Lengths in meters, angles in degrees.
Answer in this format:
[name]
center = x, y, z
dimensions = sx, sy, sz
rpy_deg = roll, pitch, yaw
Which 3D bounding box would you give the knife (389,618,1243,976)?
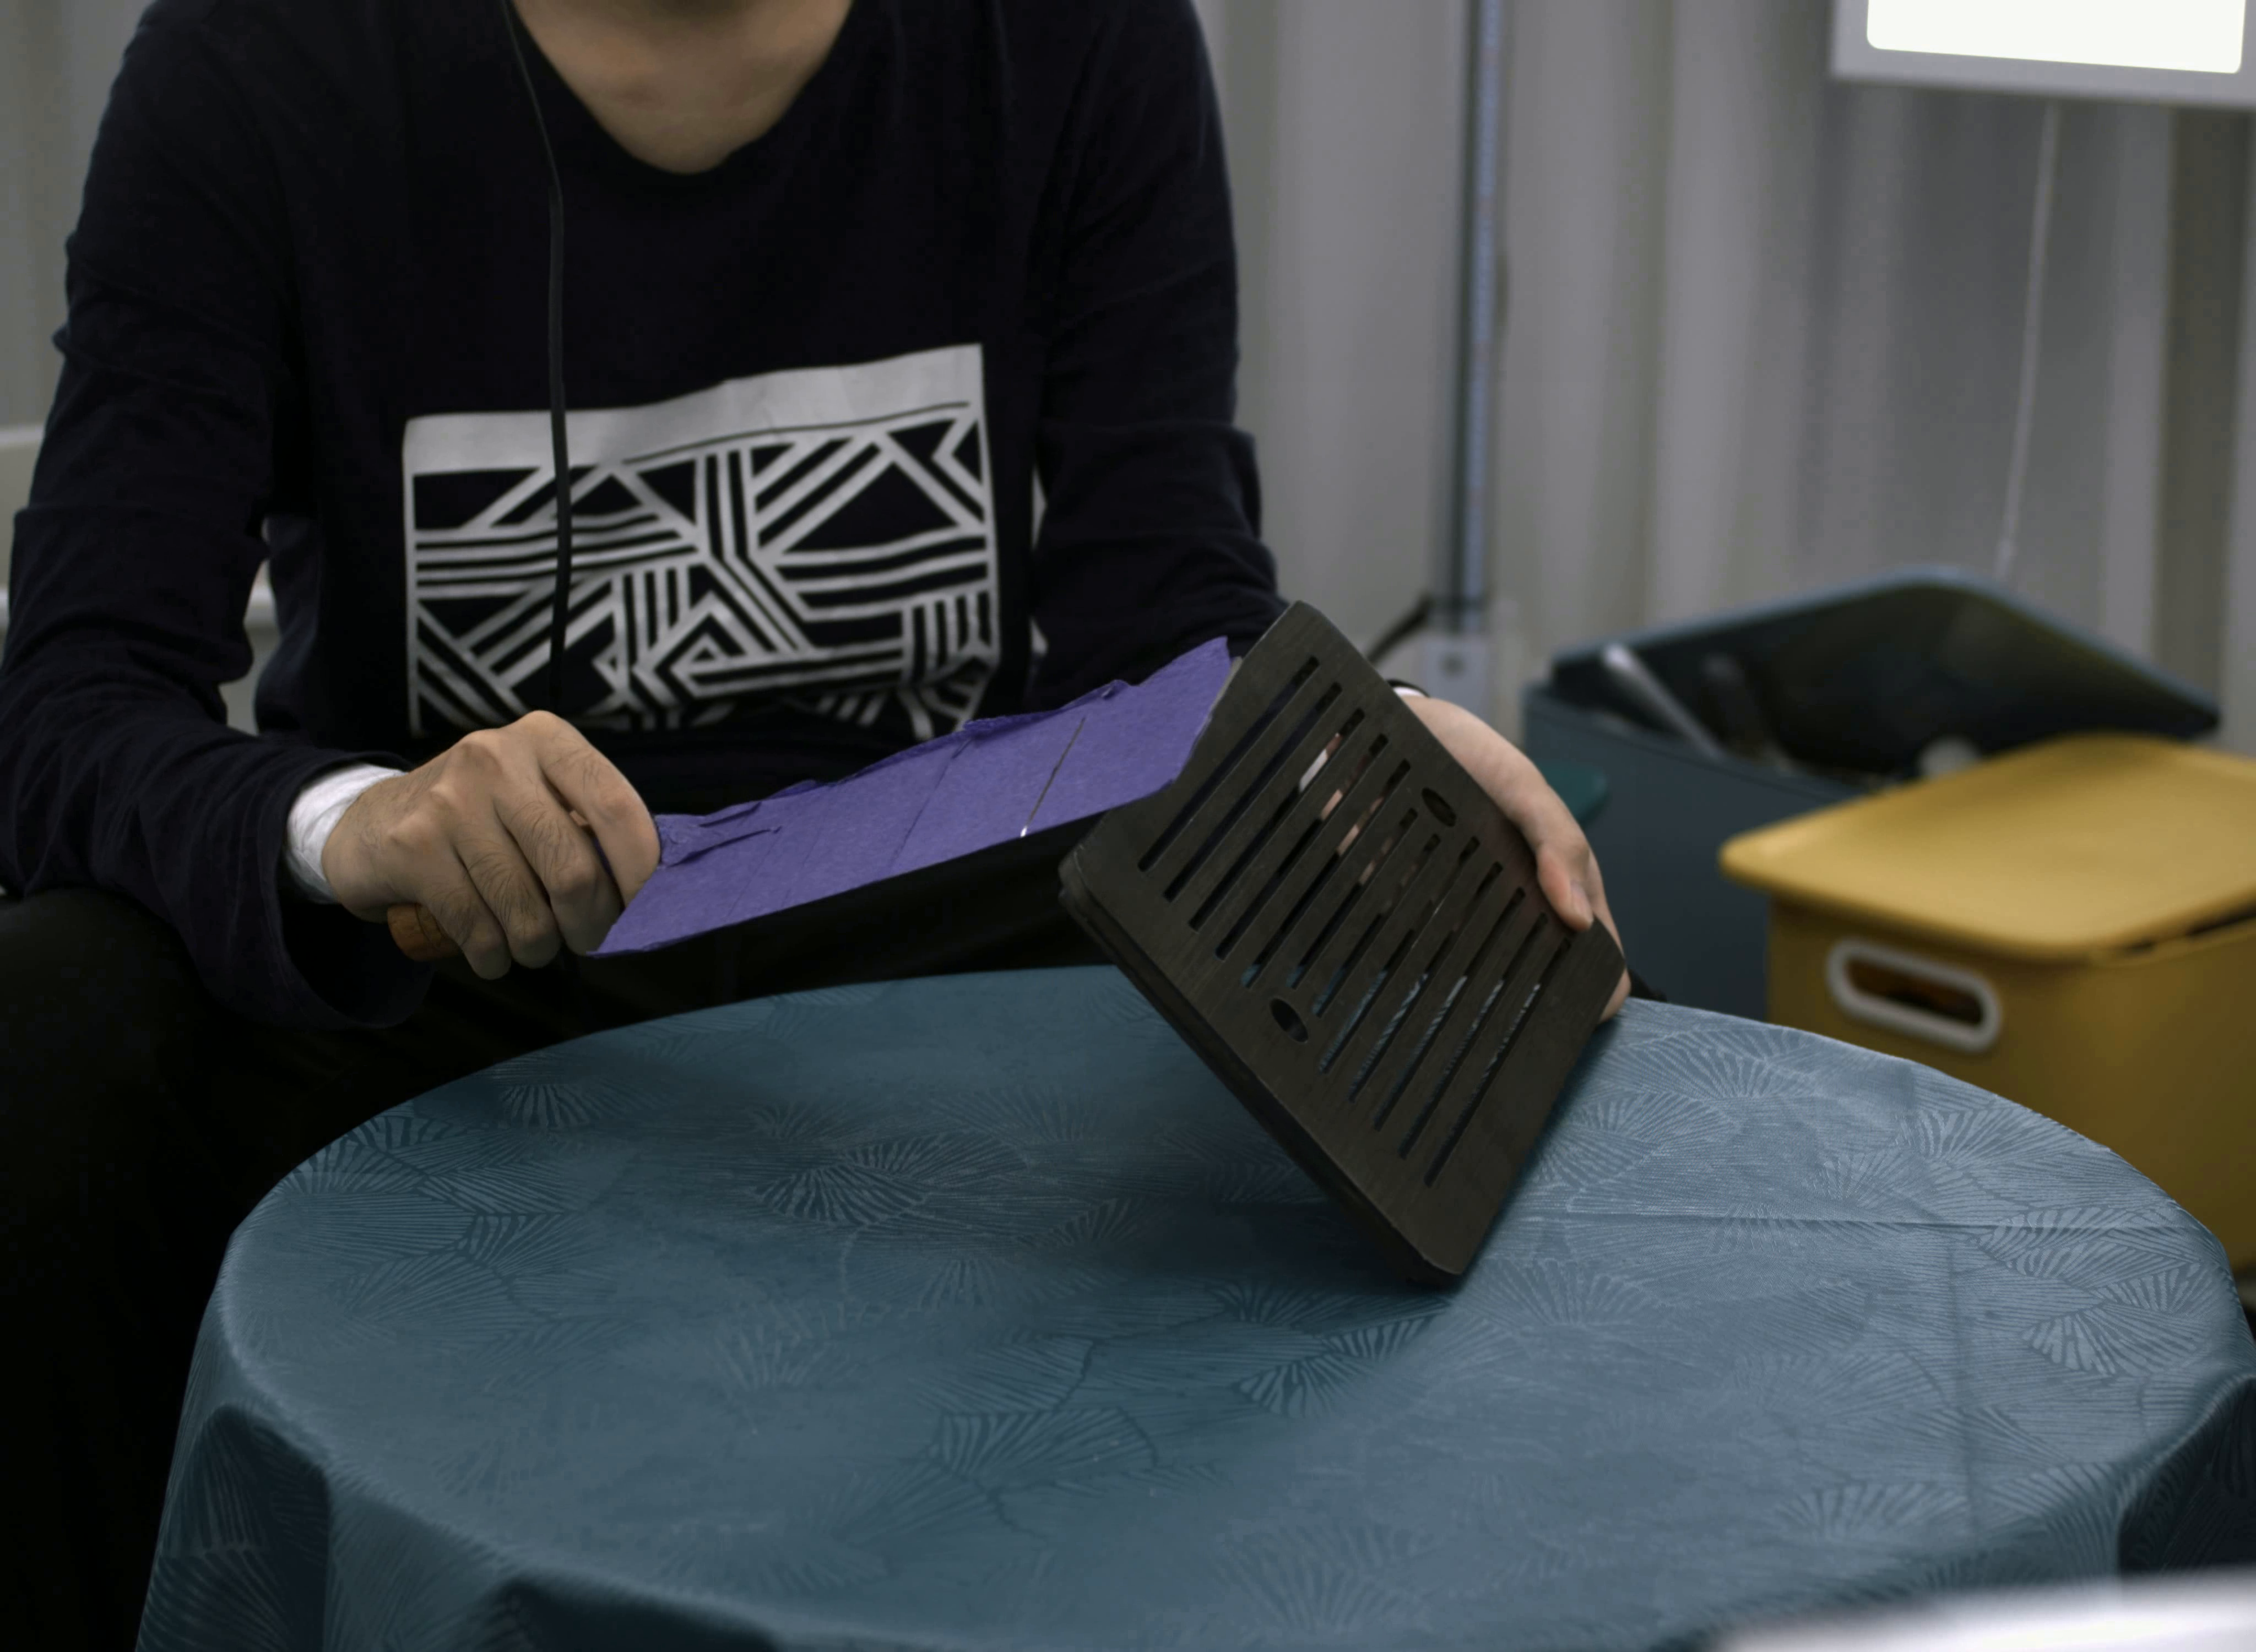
[knife]
center = -0.111, 0.003, 1.630
dimensions = 0.313, 0.032, 0.103
rpy_deg = -20, 20, 26

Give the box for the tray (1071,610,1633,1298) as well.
[tray]
center = 0.075, 0.035, 1.666
dimensions = 0.018, 0.170, 0.305
rpy_deg = -41, 4, 22
